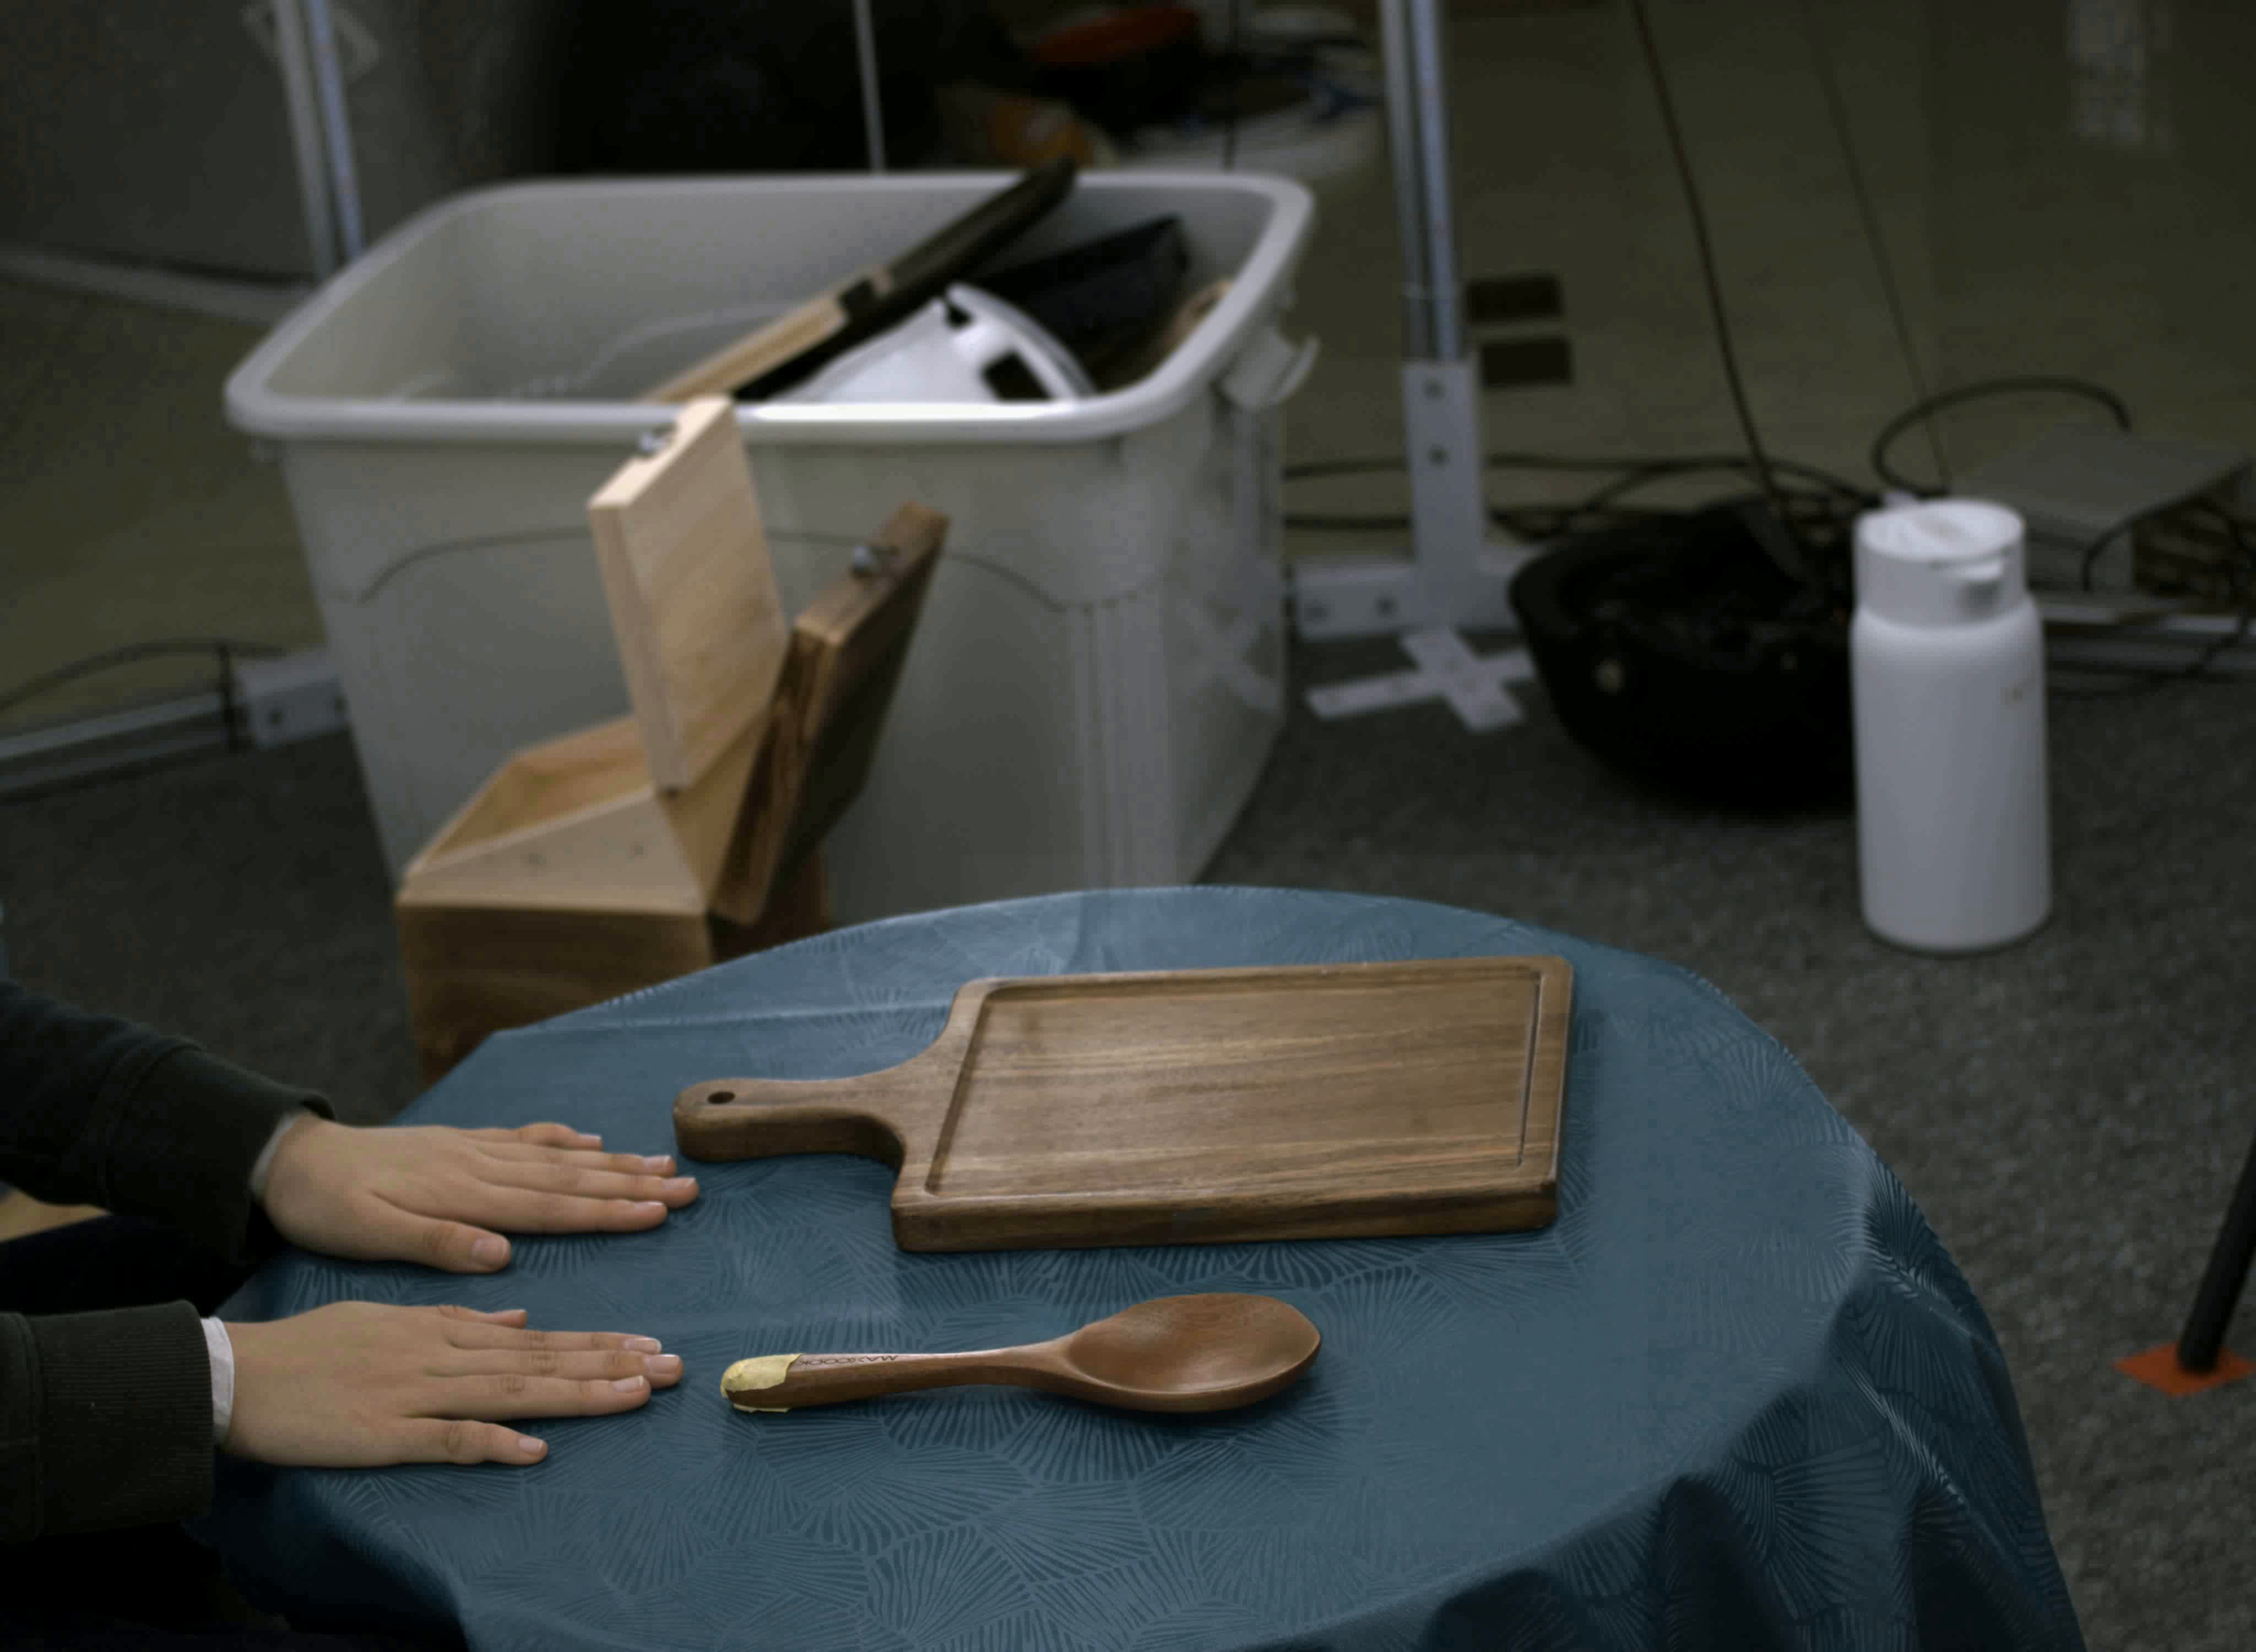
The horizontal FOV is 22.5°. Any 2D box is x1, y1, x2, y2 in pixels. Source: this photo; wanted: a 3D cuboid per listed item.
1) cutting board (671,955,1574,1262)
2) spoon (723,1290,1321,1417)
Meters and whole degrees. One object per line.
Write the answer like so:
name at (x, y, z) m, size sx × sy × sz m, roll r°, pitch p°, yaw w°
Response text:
cutting board at (-0.004, 0.109, 2.197) m, size 0.351 × 0.023 × 0.198 m, roll -3°, pitch 26°, yaw 8°
spoon at (-0.038, 0.193, 2.025) m, size 0.215 × 0.017 × 0.074 m, roll -3°, pitch 27°, yaw 6°
